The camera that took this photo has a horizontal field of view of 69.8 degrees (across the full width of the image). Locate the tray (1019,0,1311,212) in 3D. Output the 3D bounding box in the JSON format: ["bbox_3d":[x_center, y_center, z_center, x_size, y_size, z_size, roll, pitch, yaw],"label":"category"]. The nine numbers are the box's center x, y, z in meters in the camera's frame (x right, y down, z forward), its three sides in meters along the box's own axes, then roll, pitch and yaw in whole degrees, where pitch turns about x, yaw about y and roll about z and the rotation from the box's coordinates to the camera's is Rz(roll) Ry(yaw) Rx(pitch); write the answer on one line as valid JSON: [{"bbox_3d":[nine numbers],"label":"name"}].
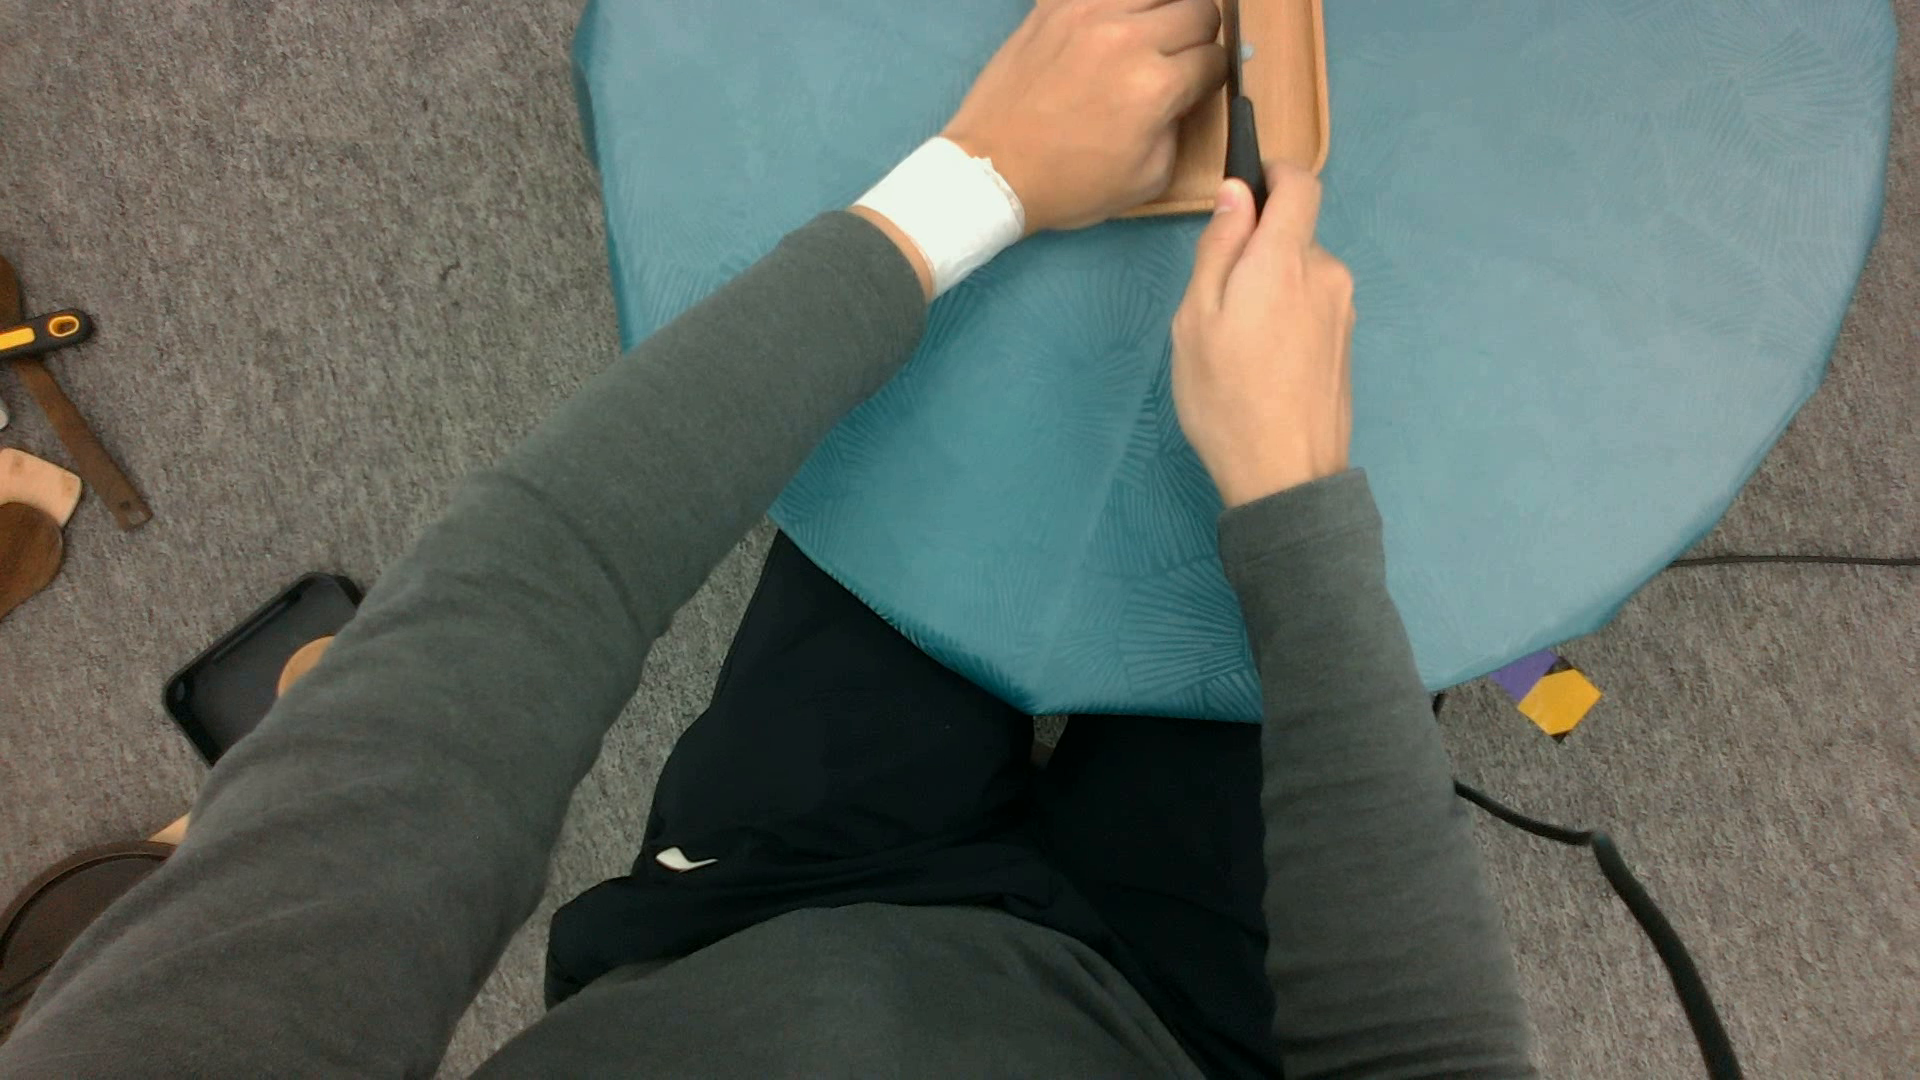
[{"bbox_3d":[0.089,-0.277,0.631,0.130,0.023,0.250,-3,91,2],"label":"tray"}]

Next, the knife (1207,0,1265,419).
[{"bbox_3d":[0.110,-0.202,0.587,0.021,0.081,0.302,-3,84,7],"label":"knife"}]
